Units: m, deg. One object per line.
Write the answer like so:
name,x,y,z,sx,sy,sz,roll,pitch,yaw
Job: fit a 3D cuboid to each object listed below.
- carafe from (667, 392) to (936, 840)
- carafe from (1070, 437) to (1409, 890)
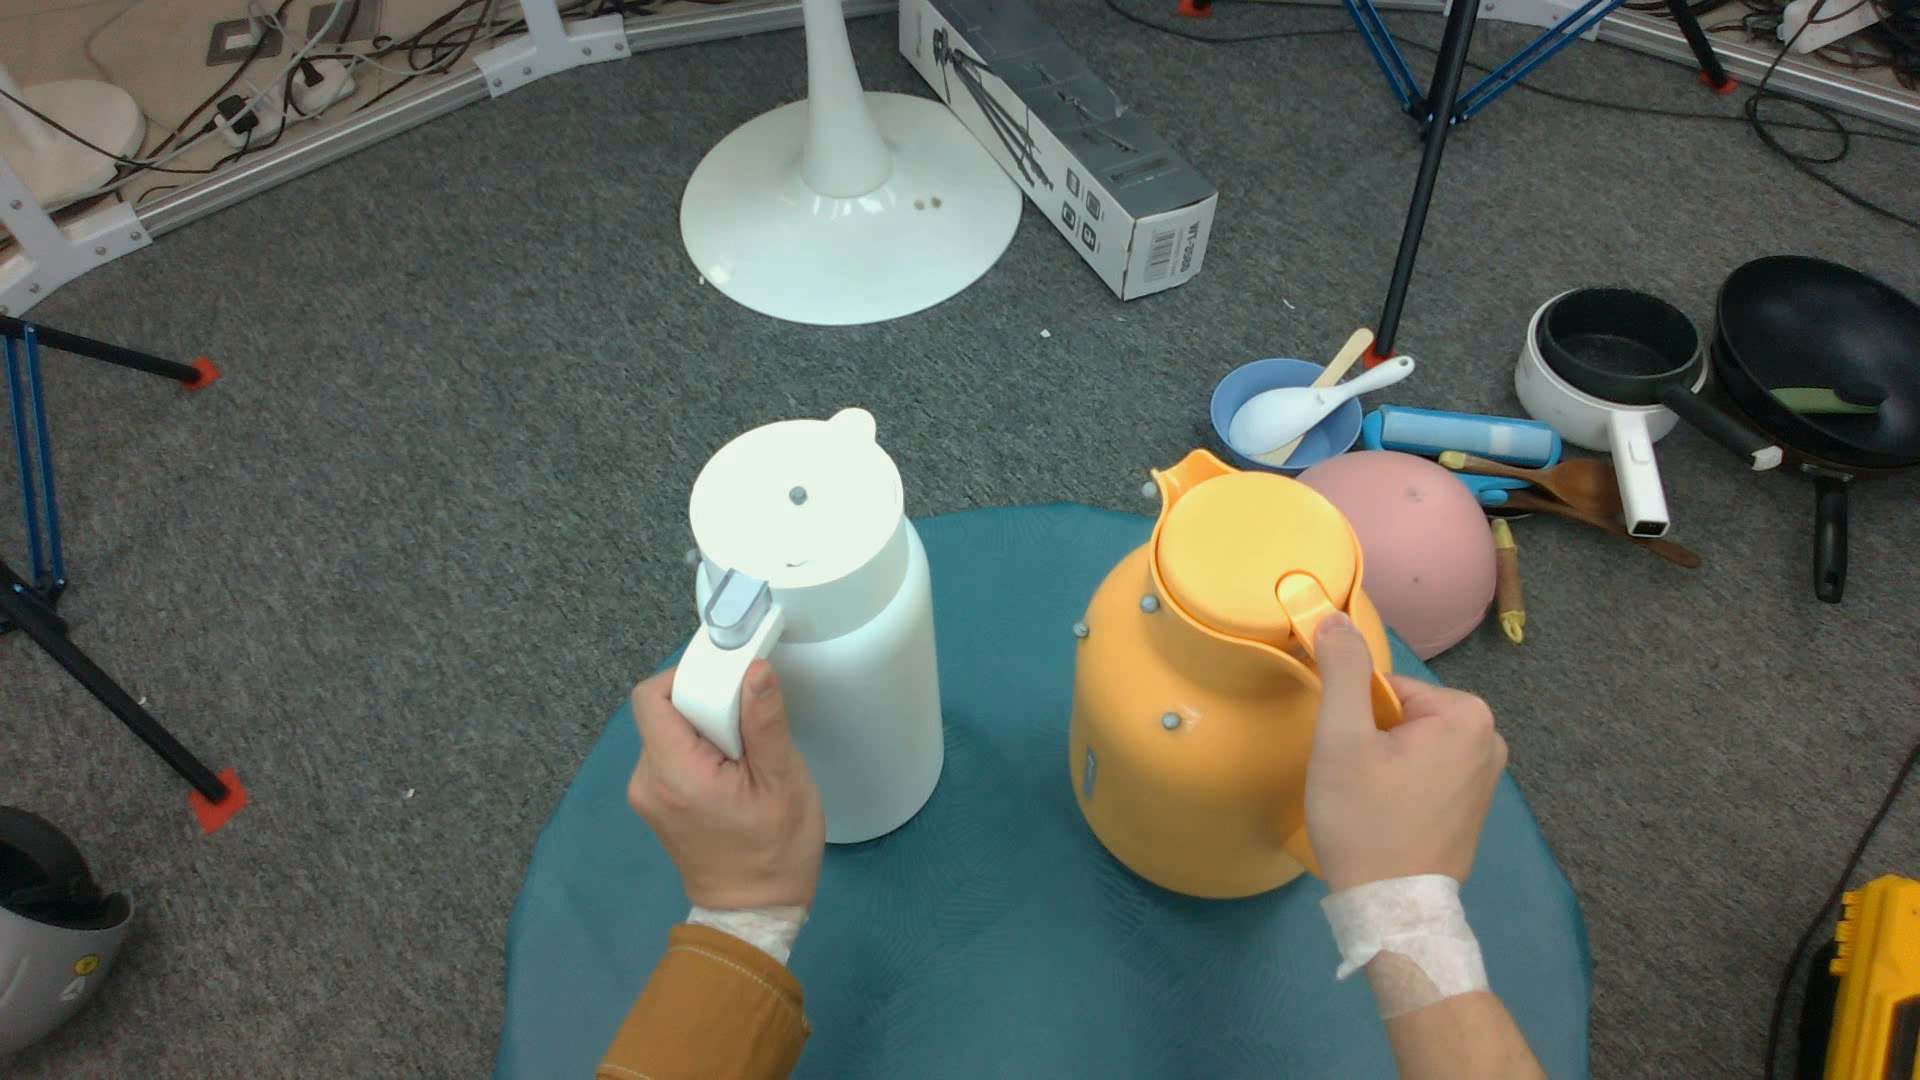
carafe,-0.081,0.068,0.728,0.124,0.267,0.173,18,57,12
carafe,0.146,0.082,0.713,0.164,0.259,0.203,-23,55,-10
